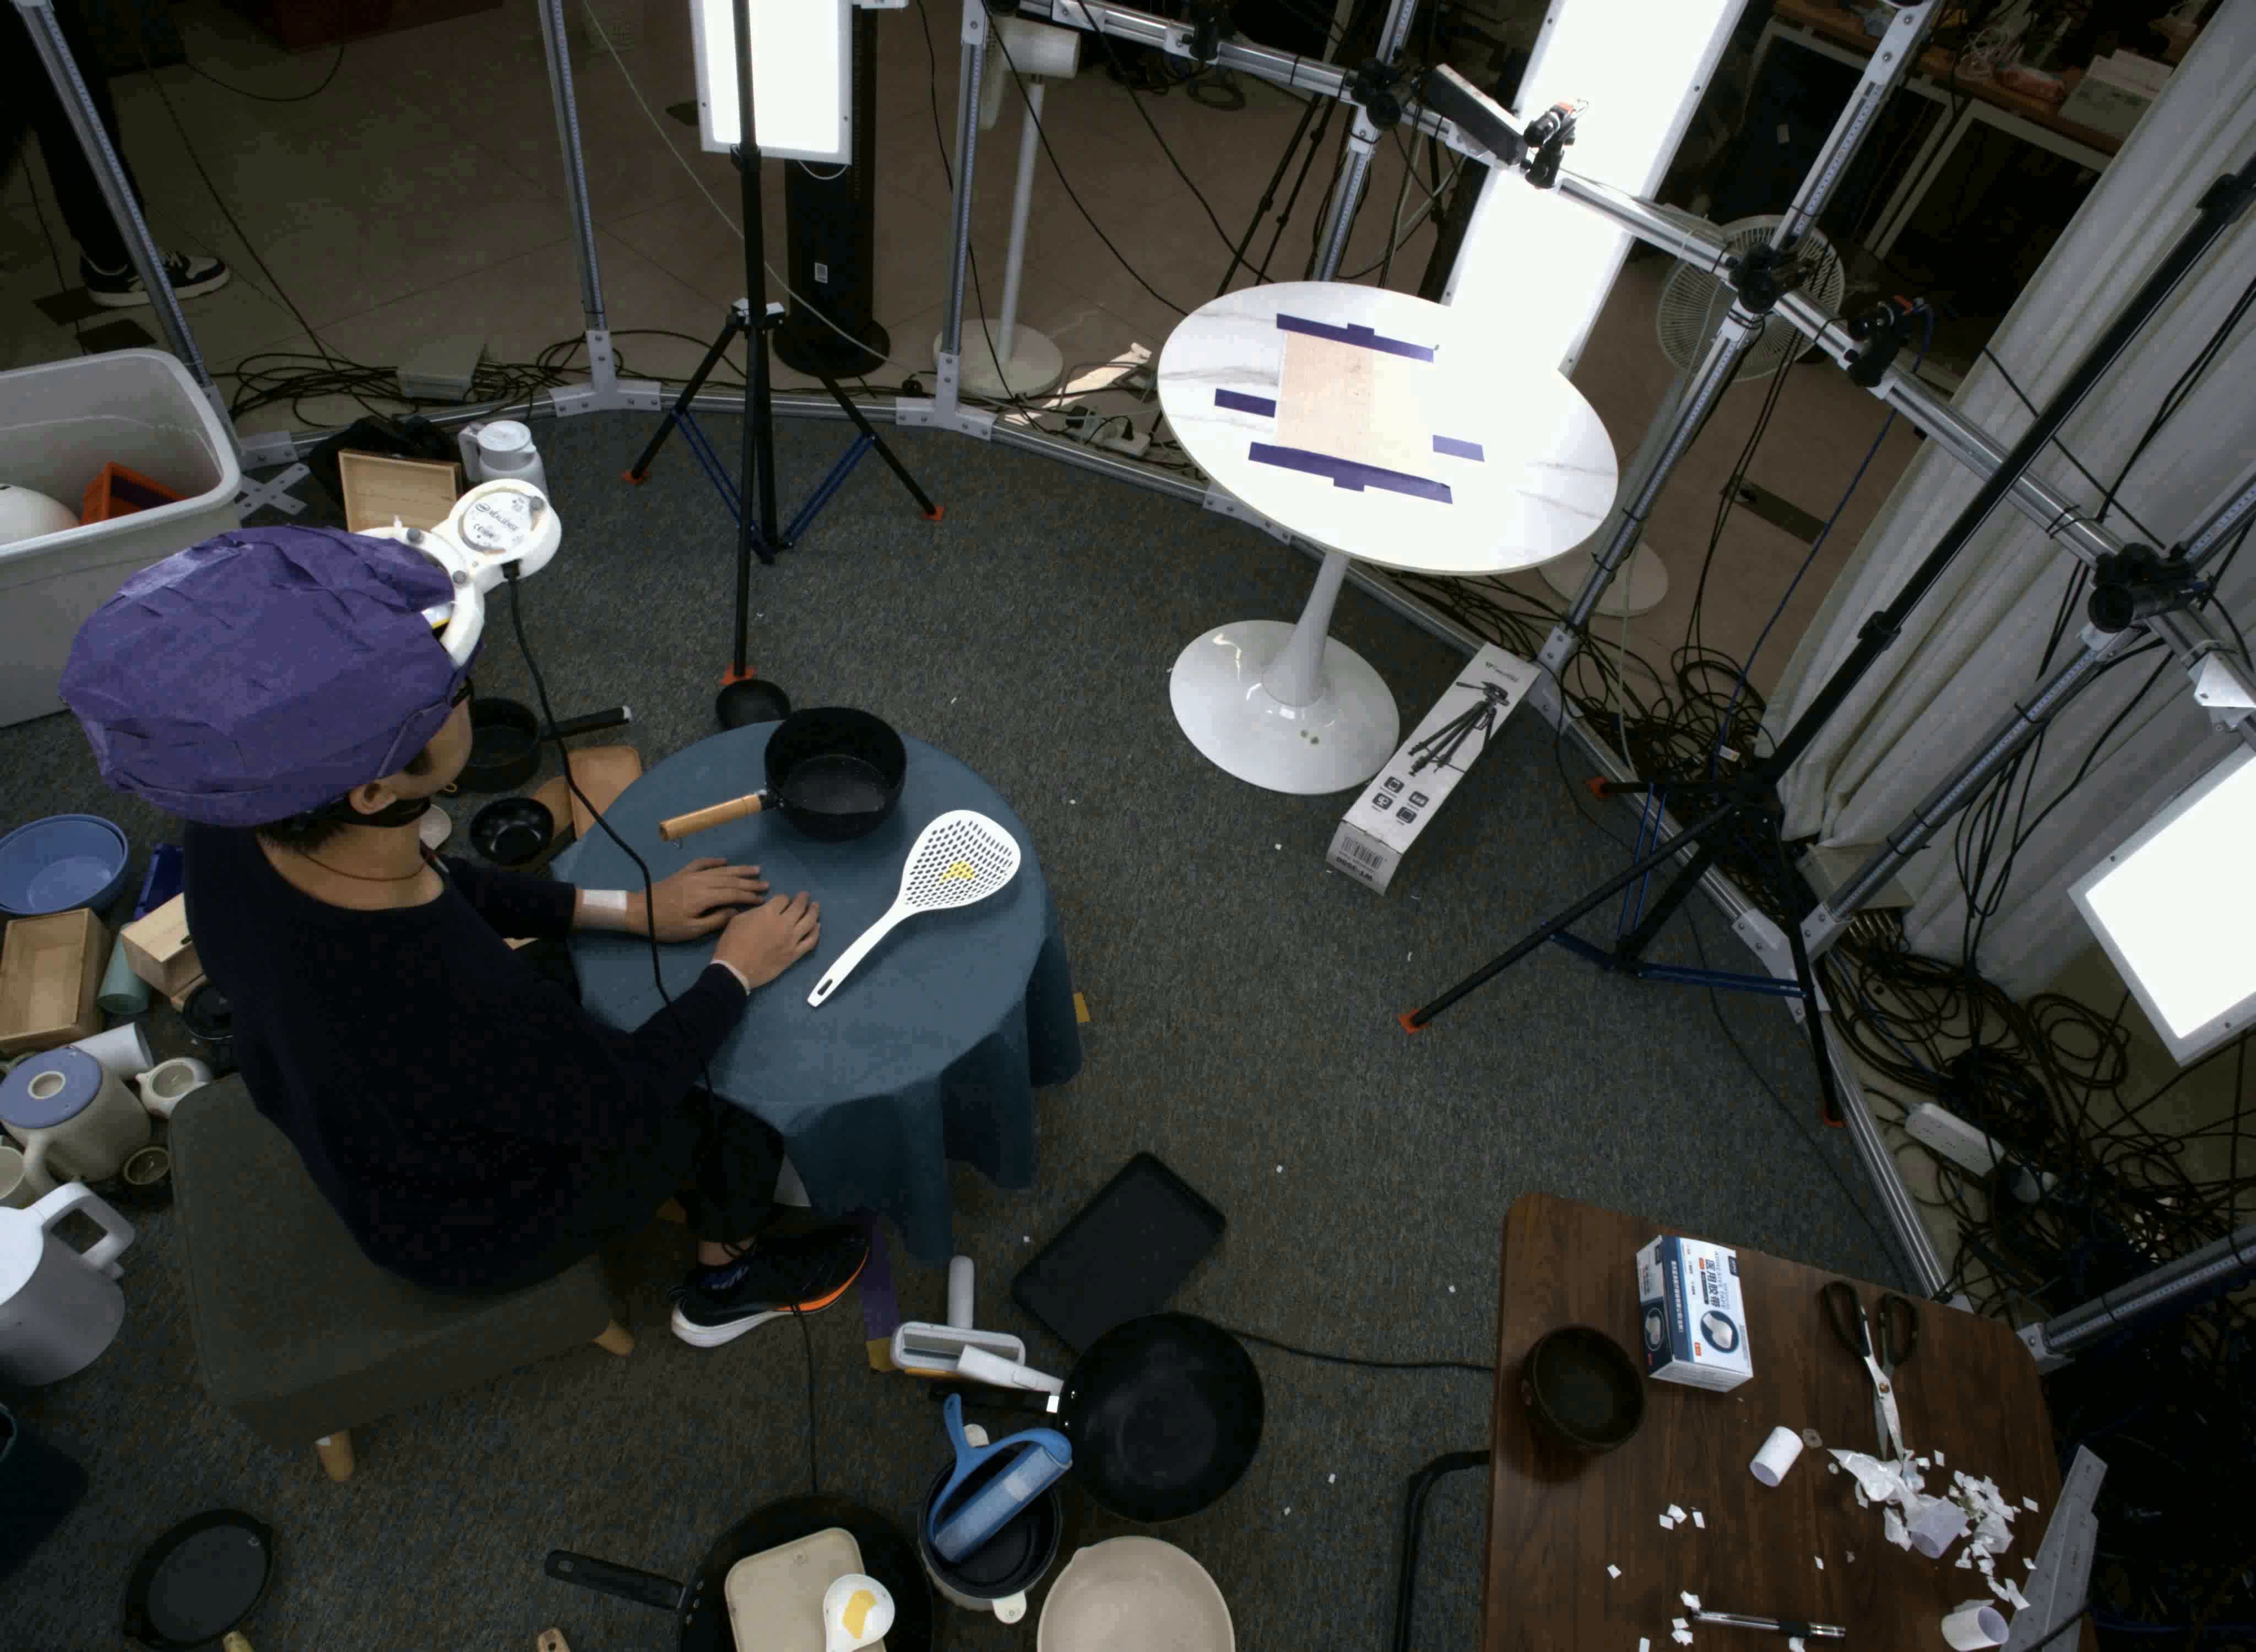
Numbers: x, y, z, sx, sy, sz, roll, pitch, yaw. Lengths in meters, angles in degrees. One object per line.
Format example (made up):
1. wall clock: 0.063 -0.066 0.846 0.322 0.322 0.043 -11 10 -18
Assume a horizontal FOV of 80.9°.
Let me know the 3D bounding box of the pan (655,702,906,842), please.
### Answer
1. pan: -0.445 -0.037 1.666 0.344 0.110 0.203 -31 67 -33

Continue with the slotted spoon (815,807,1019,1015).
1. slotted spoon: -0.277 0.105 1.647 0.134 0.051 0.347 36 52 11
